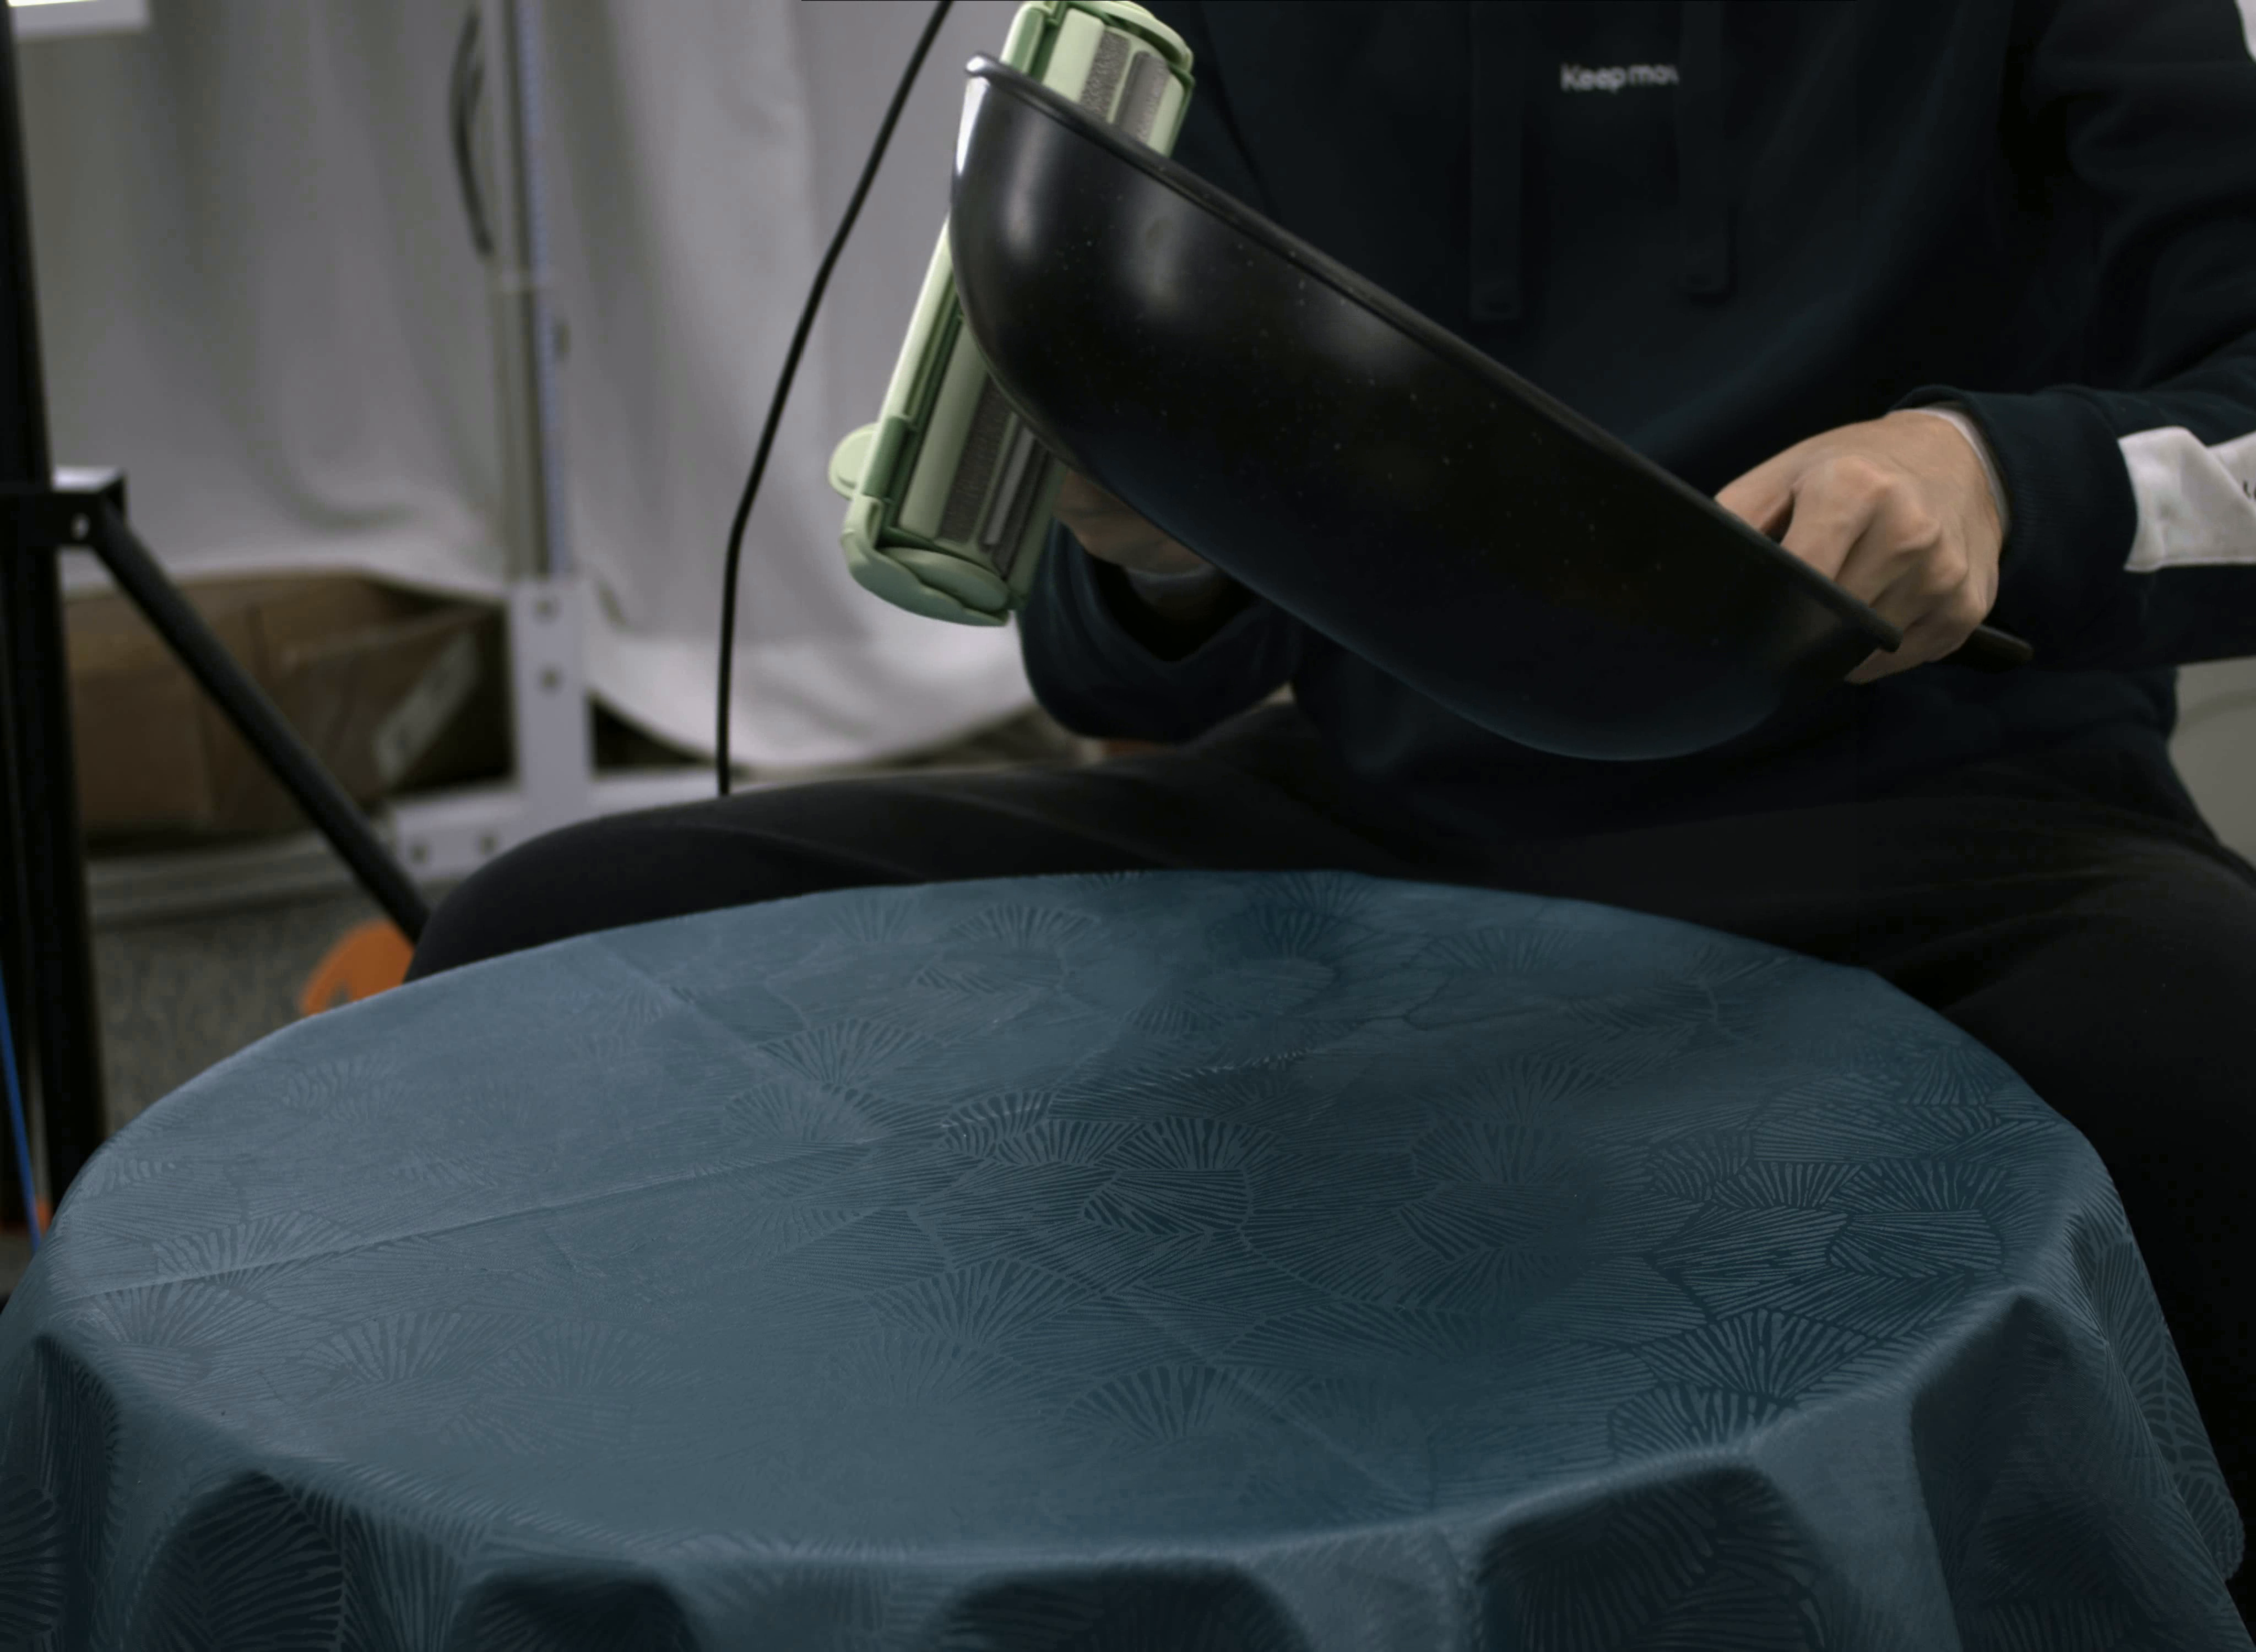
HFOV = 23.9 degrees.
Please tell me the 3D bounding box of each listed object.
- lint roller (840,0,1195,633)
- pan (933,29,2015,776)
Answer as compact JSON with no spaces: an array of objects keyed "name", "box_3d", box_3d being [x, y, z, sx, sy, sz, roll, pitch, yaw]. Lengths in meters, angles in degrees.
[{"name":"lint roller","box_3d":[-0.024,-0.143,1.671,0.083,0.199,0.180,12,-14,18]},{"name":"pan","box_3d":[0.115,-0.085,1.545,0.464,0.112,0.317,27,9,-49]}]
